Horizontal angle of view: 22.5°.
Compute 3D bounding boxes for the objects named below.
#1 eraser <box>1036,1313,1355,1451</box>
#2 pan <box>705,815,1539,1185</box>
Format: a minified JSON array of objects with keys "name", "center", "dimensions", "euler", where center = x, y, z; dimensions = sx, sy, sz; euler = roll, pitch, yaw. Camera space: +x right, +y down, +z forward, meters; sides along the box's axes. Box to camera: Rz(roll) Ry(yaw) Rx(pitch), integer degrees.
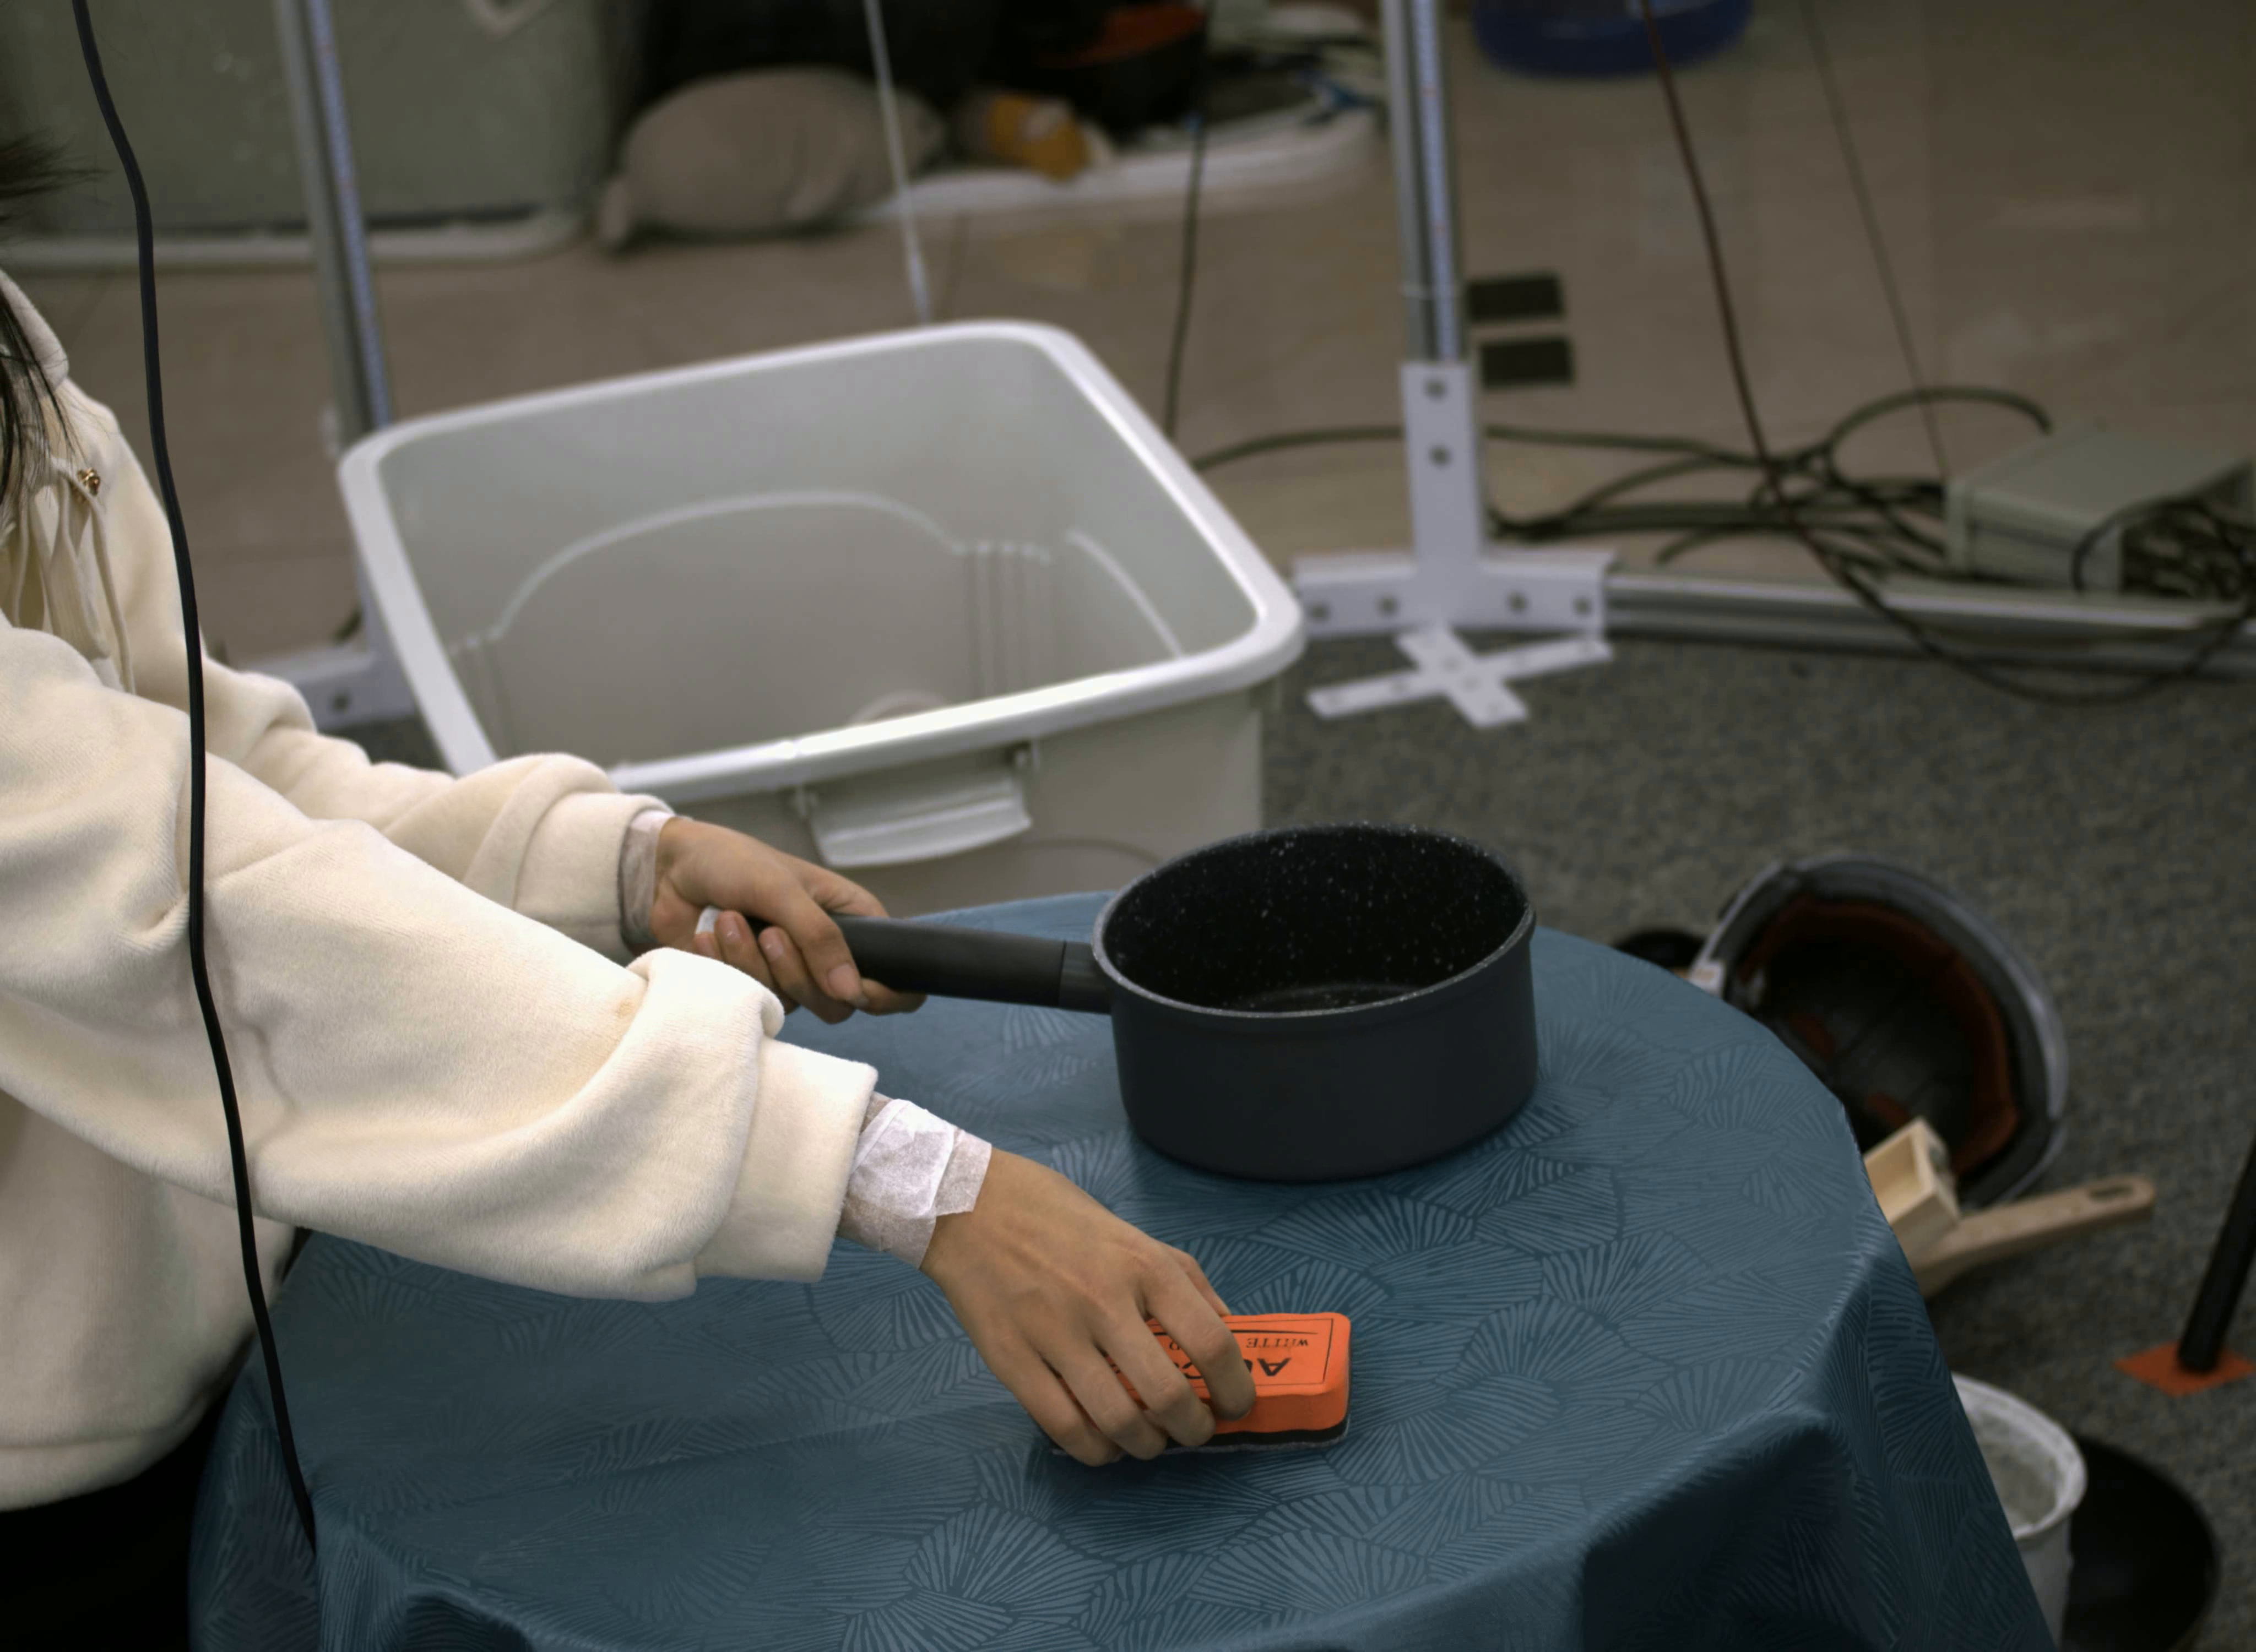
[{"name":"eraser","center":[0.024,0.195,1.993],"dimensions":[0.108,0.023,0.058],"euler":[-2,26,10]},{"name":"pan","center":[-0.003,0.066,2.204],"dimensions":[0.328,0.088,0.169],"euler":[1,26,12]}]
